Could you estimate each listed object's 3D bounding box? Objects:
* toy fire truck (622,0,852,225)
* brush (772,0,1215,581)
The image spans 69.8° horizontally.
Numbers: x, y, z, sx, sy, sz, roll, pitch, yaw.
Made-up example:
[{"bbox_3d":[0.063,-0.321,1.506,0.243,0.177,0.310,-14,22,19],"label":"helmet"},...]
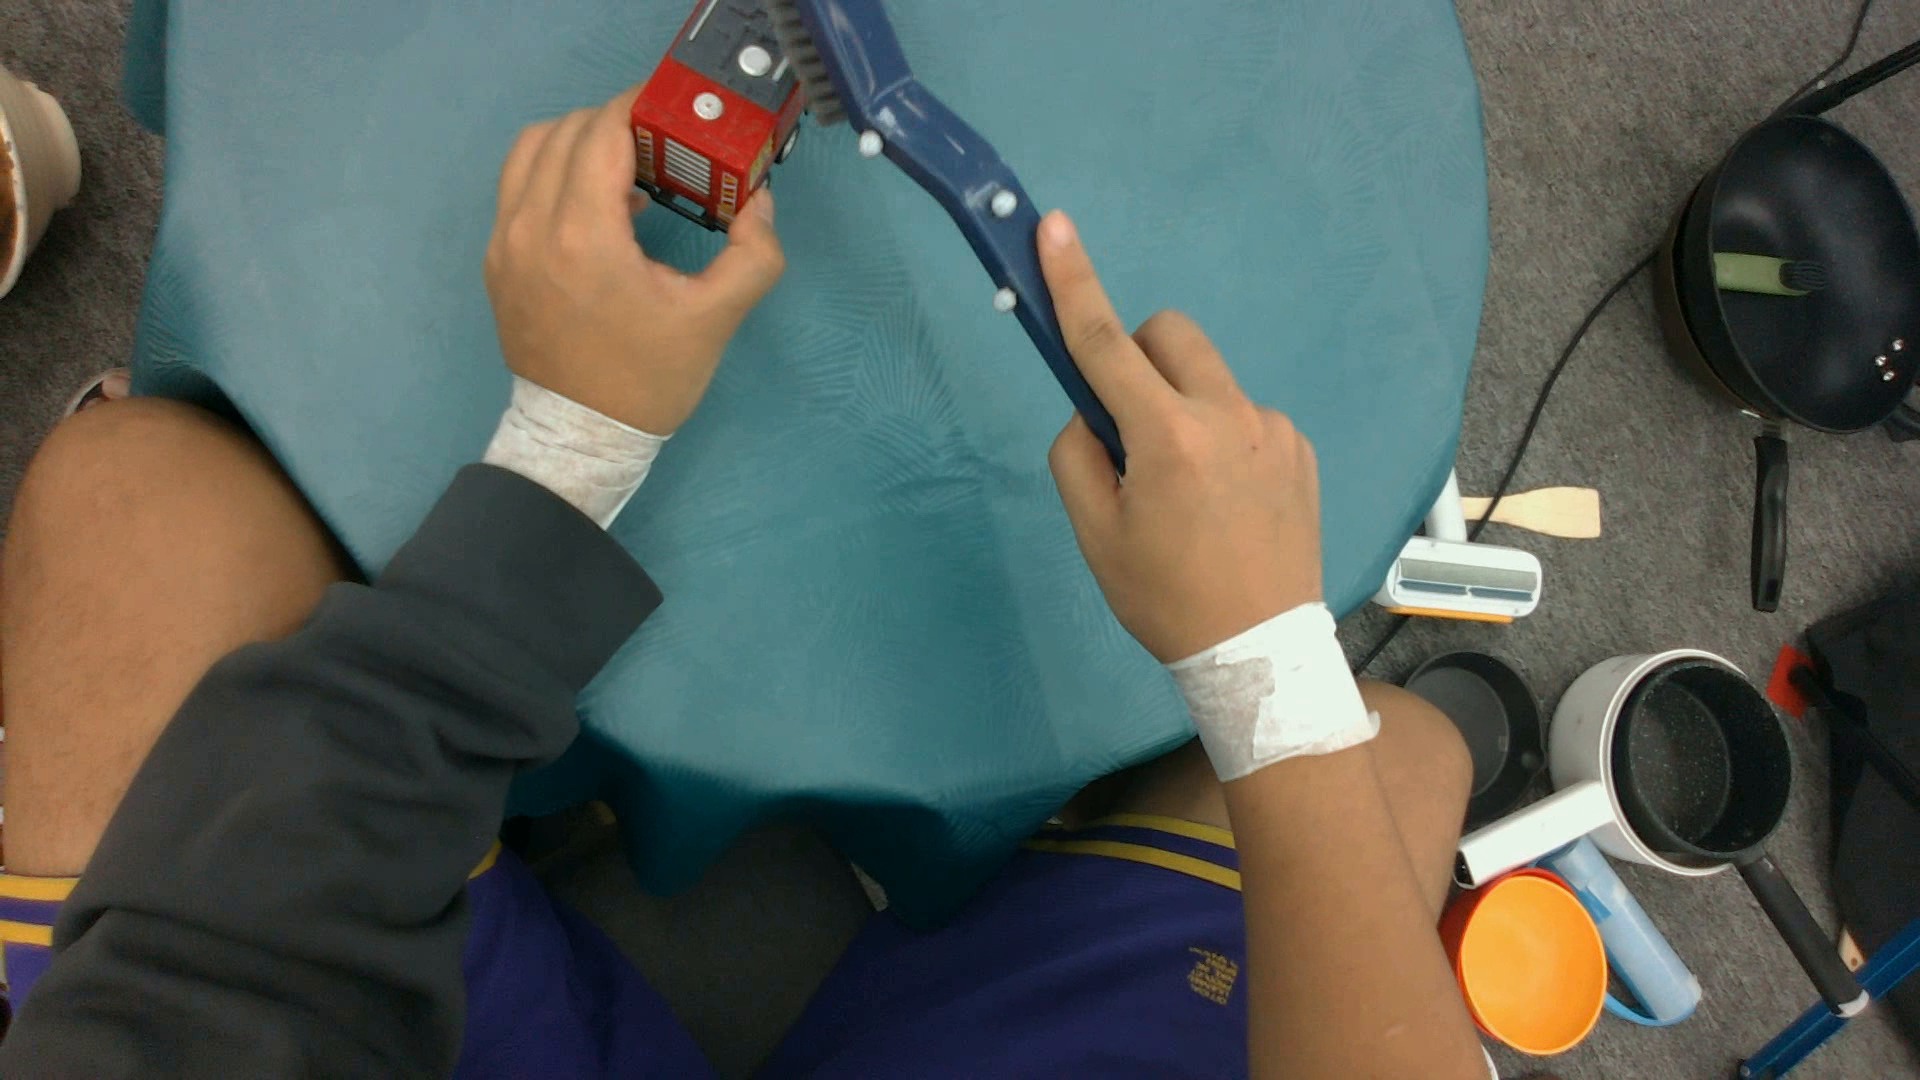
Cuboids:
[{"bbox_3d":[-0.070,-0.202,0.523,0.054,0.070,0.168,26,73,-3],"label":"toy fire truck"},{"bbox_3d":[0.015,-0.107,0.463,0.033,0.095,0.273,-42,97,-31],"label":"brush"}]
